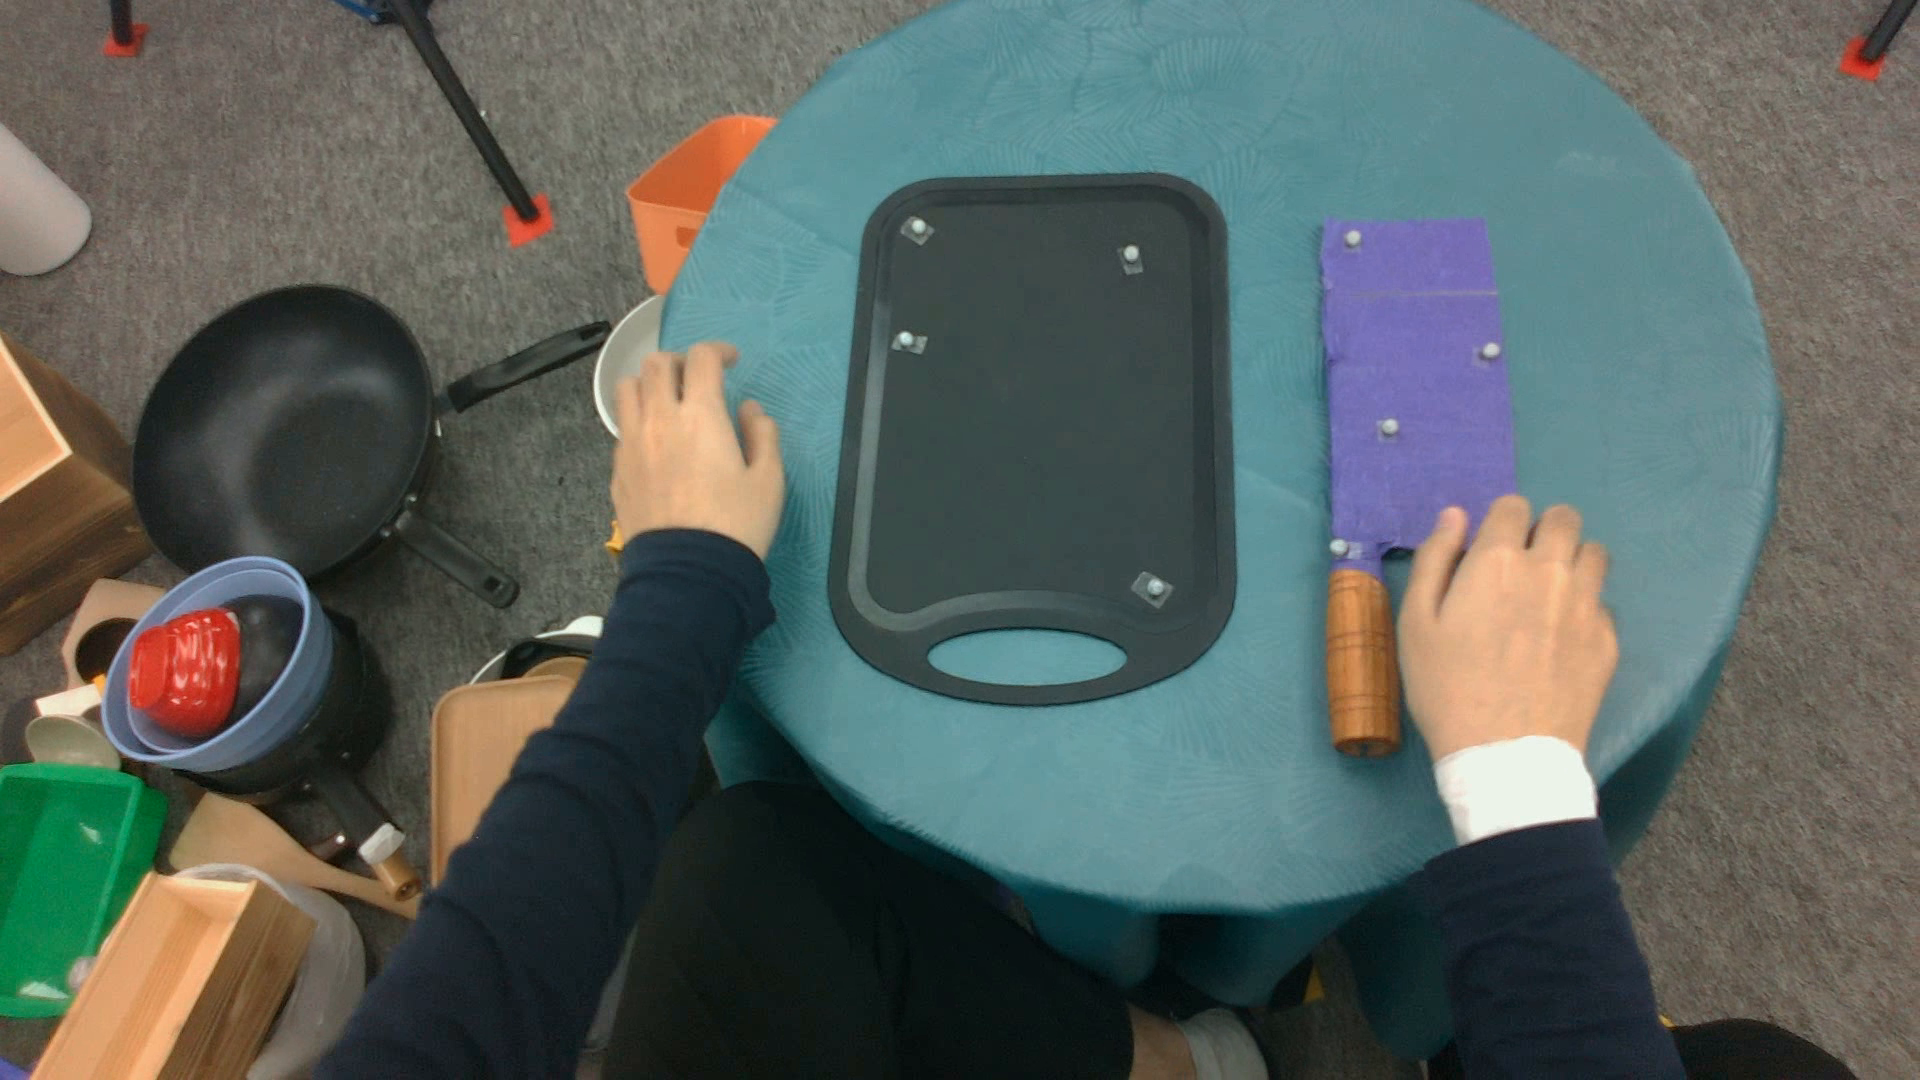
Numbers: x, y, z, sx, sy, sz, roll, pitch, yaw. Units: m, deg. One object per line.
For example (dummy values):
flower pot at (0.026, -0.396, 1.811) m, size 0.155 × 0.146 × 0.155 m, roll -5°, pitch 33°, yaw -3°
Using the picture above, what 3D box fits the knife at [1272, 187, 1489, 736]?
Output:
knife at (0.218, -0.055, 0.701) m, size 0.104 × 0.032 × 0.316 m, roll 1°, pitch 65°, yaw 5°

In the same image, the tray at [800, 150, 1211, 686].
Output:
tray at (0.026, -0.078, 0.738) m, size 0.211 × 0.010 × 0.326 m, roll 1°, pitch 66°, yaw 5°
